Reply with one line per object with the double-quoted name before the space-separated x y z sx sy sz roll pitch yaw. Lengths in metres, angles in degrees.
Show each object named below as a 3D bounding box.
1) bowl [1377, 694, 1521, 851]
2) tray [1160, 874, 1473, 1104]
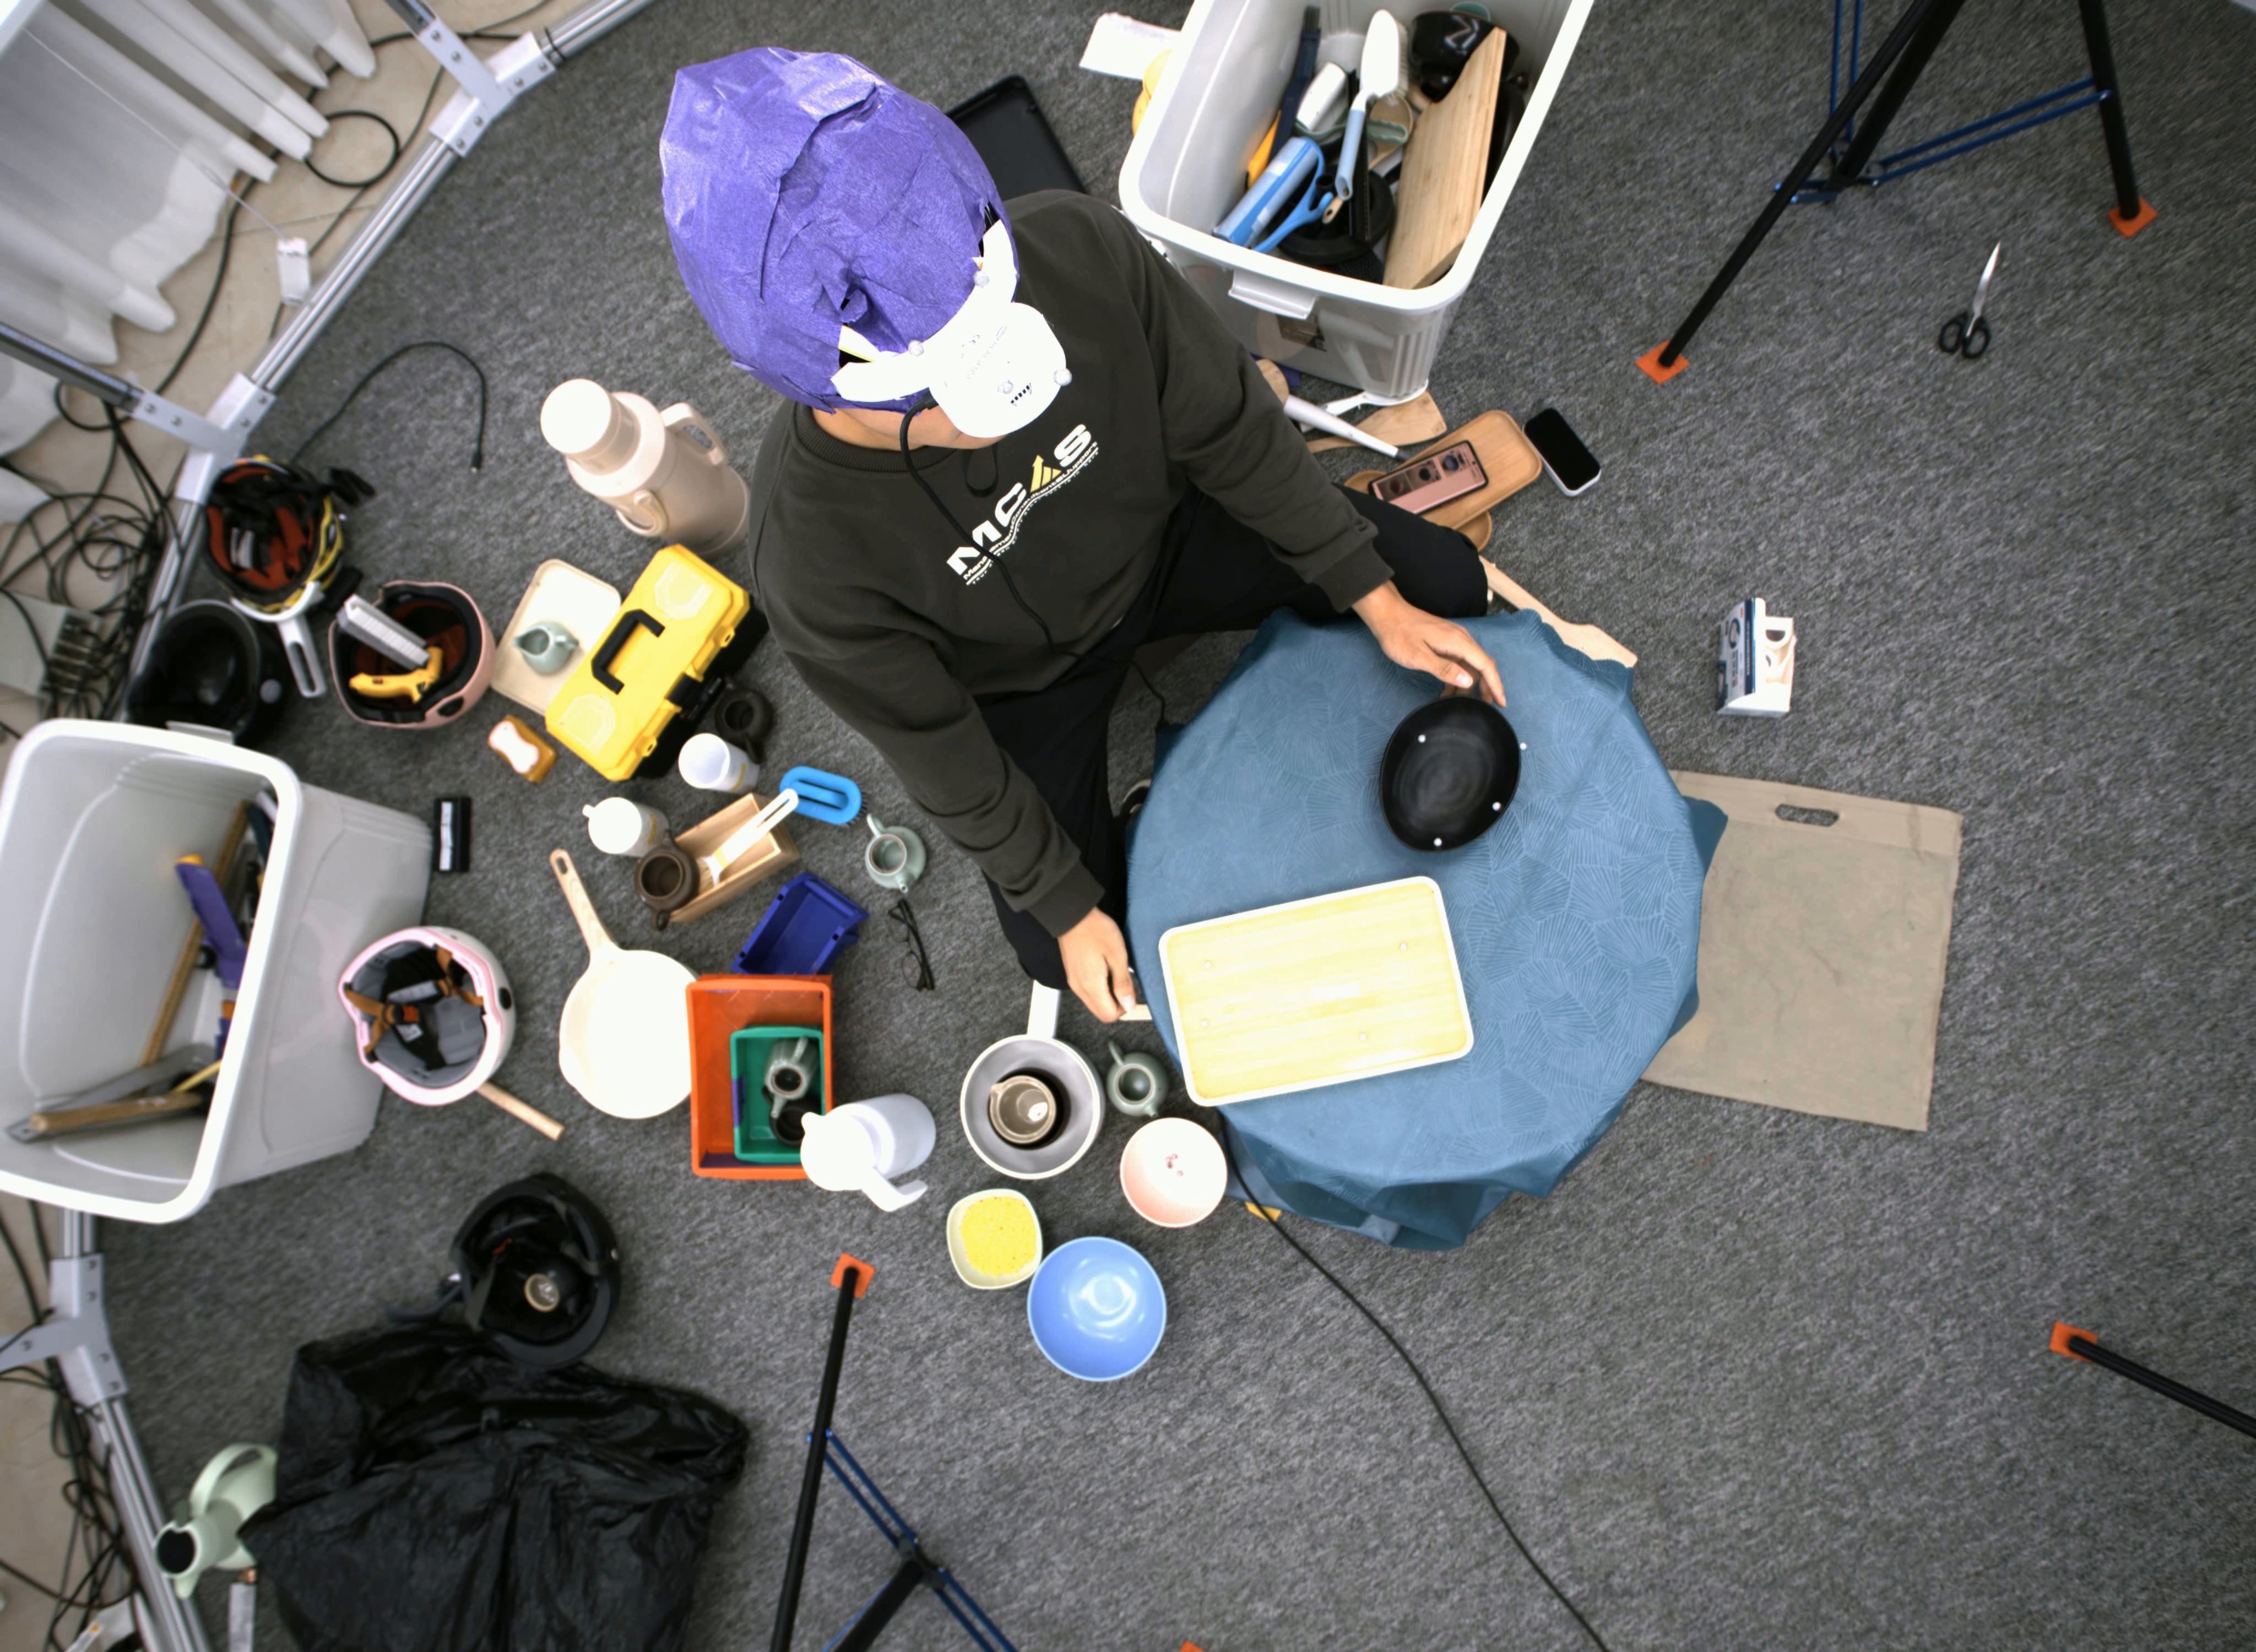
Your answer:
"bowl" 0.331 -0.053 1.425 0.137 0.066 0.170 26 93 13
"tray" 0.195 0.171 1.454 0.302 0.027 0.190 -13 84 10
